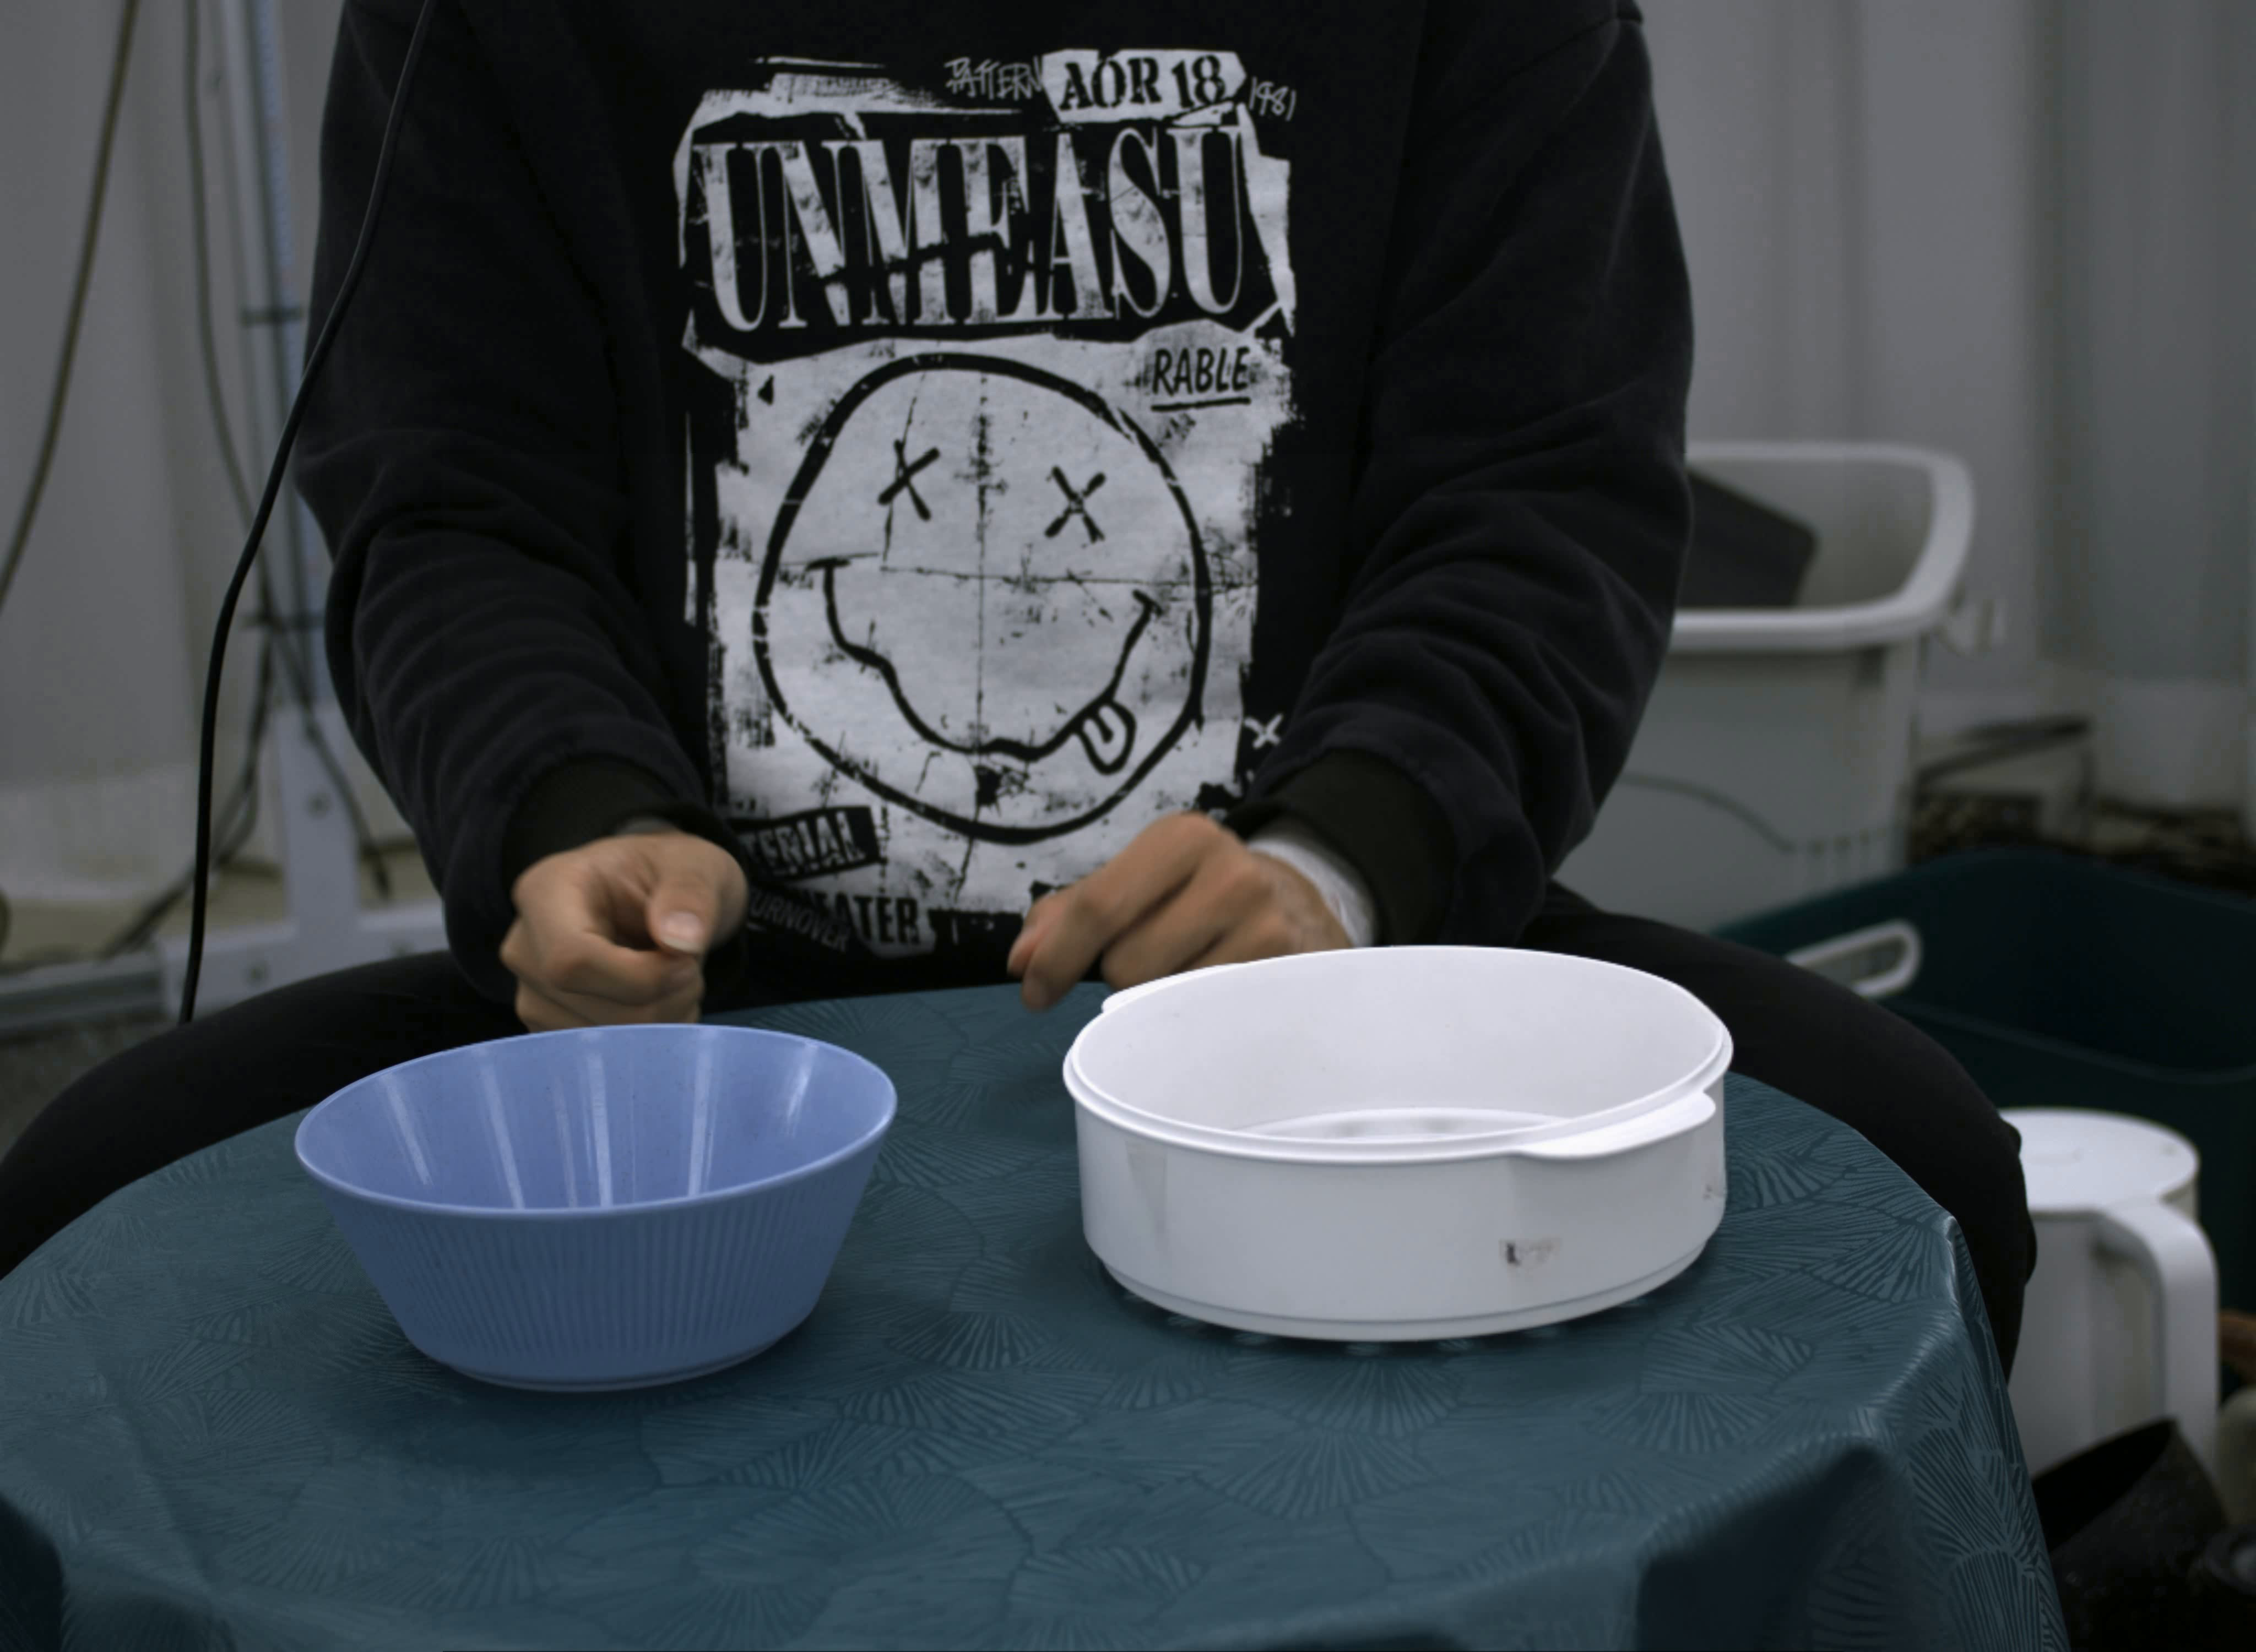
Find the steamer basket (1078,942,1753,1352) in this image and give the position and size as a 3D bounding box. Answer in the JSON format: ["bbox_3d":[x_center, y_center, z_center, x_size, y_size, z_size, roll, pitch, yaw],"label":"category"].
[{"bbox_3d":[0.086,0.096,1.636,0.201,0.069,0.232,-14,21,-36],"label":"steamer basket"}]

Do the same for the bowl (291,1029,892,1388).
[{"bbox_3d":[-0.156,0.115,1.607,0.175,0.070,0.177,-2,15,0],"label":"bowl"}]
